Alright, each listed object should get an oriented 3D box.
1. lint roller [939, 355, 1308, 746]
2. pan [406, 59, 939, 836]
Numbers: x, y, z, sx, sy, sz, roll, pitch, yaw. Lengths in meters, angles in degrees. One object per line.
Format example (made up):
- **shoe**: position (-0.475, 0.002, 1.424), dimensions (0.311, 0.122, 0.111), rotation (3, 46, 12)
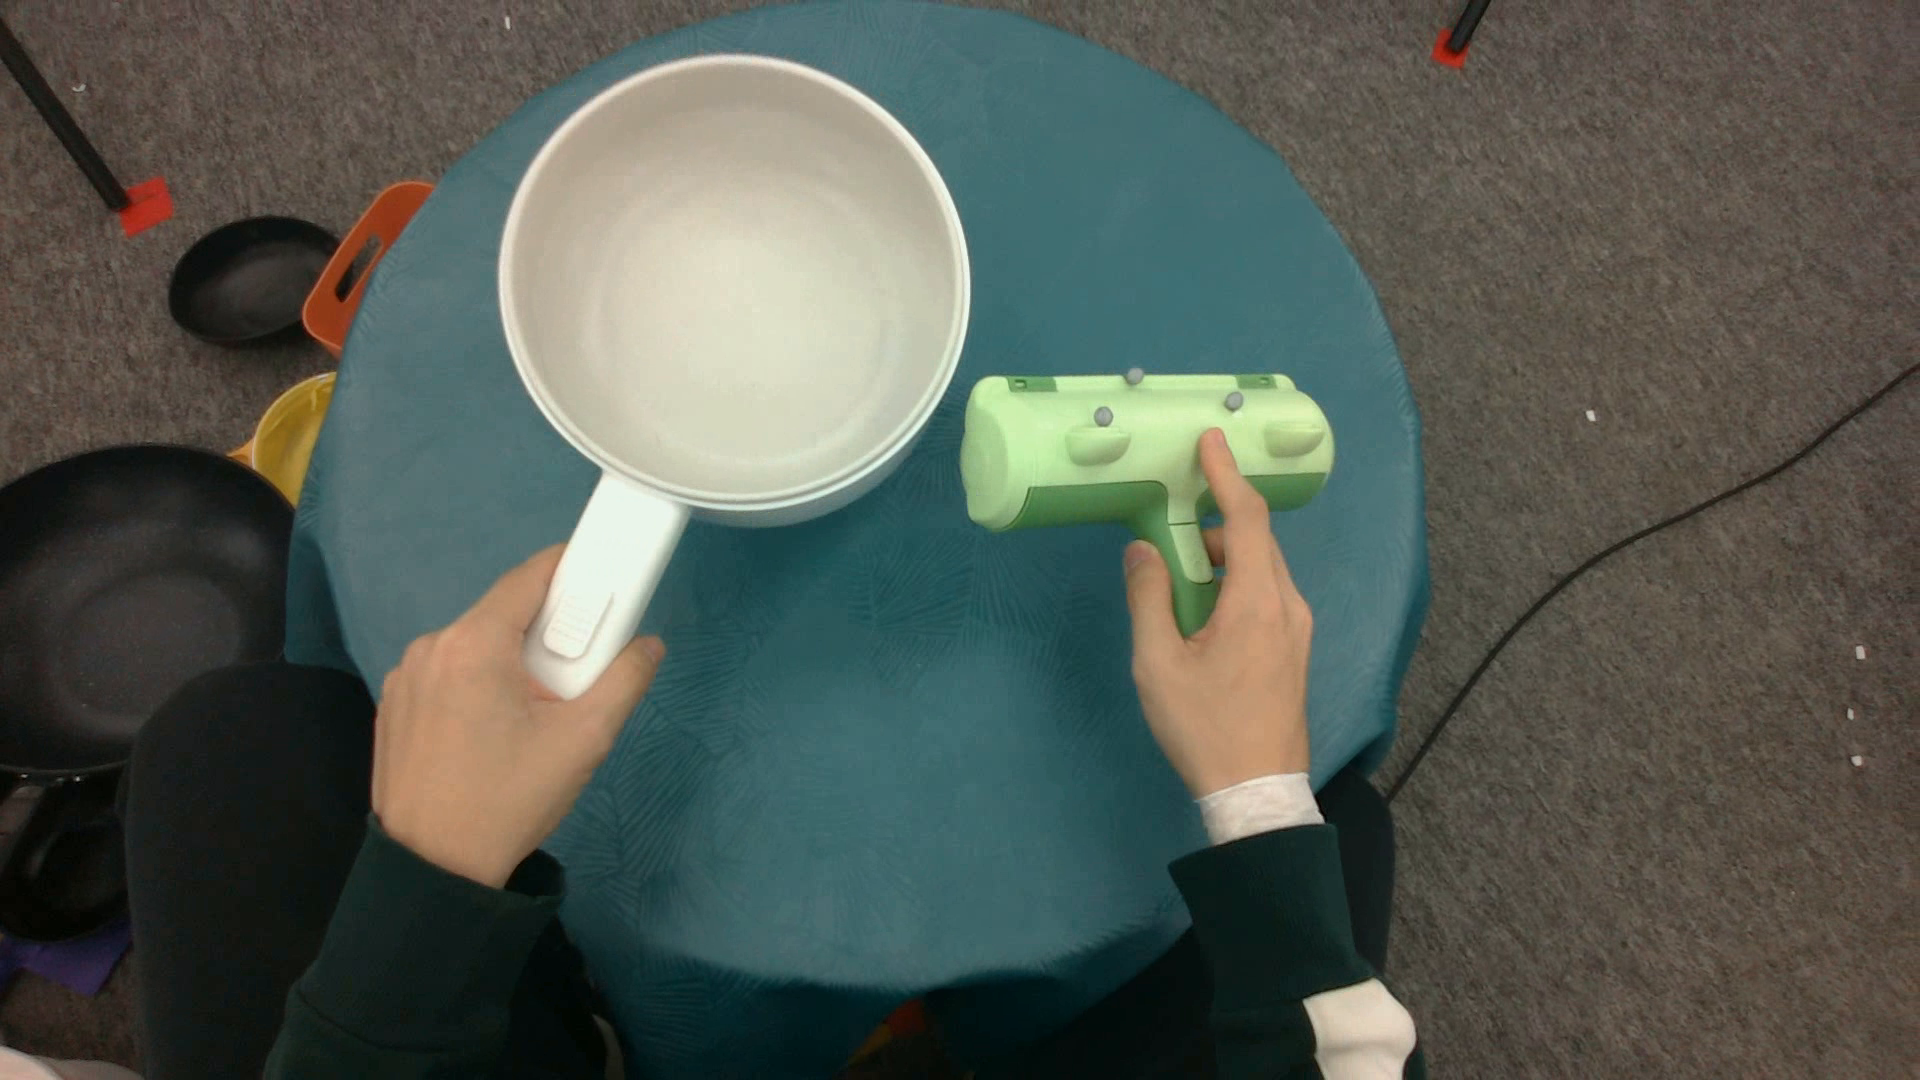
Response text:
- **lint roller**: position (0.100, -0.003, 0.628), dimensions (0.199, 0.082, 0.183), rotation (-5, 68, -33)
- **pan**: position (-0.142, -0.040, 0.630), dimensions (0.201, 0.102, 0.355), rotation (23, 80, -2)
